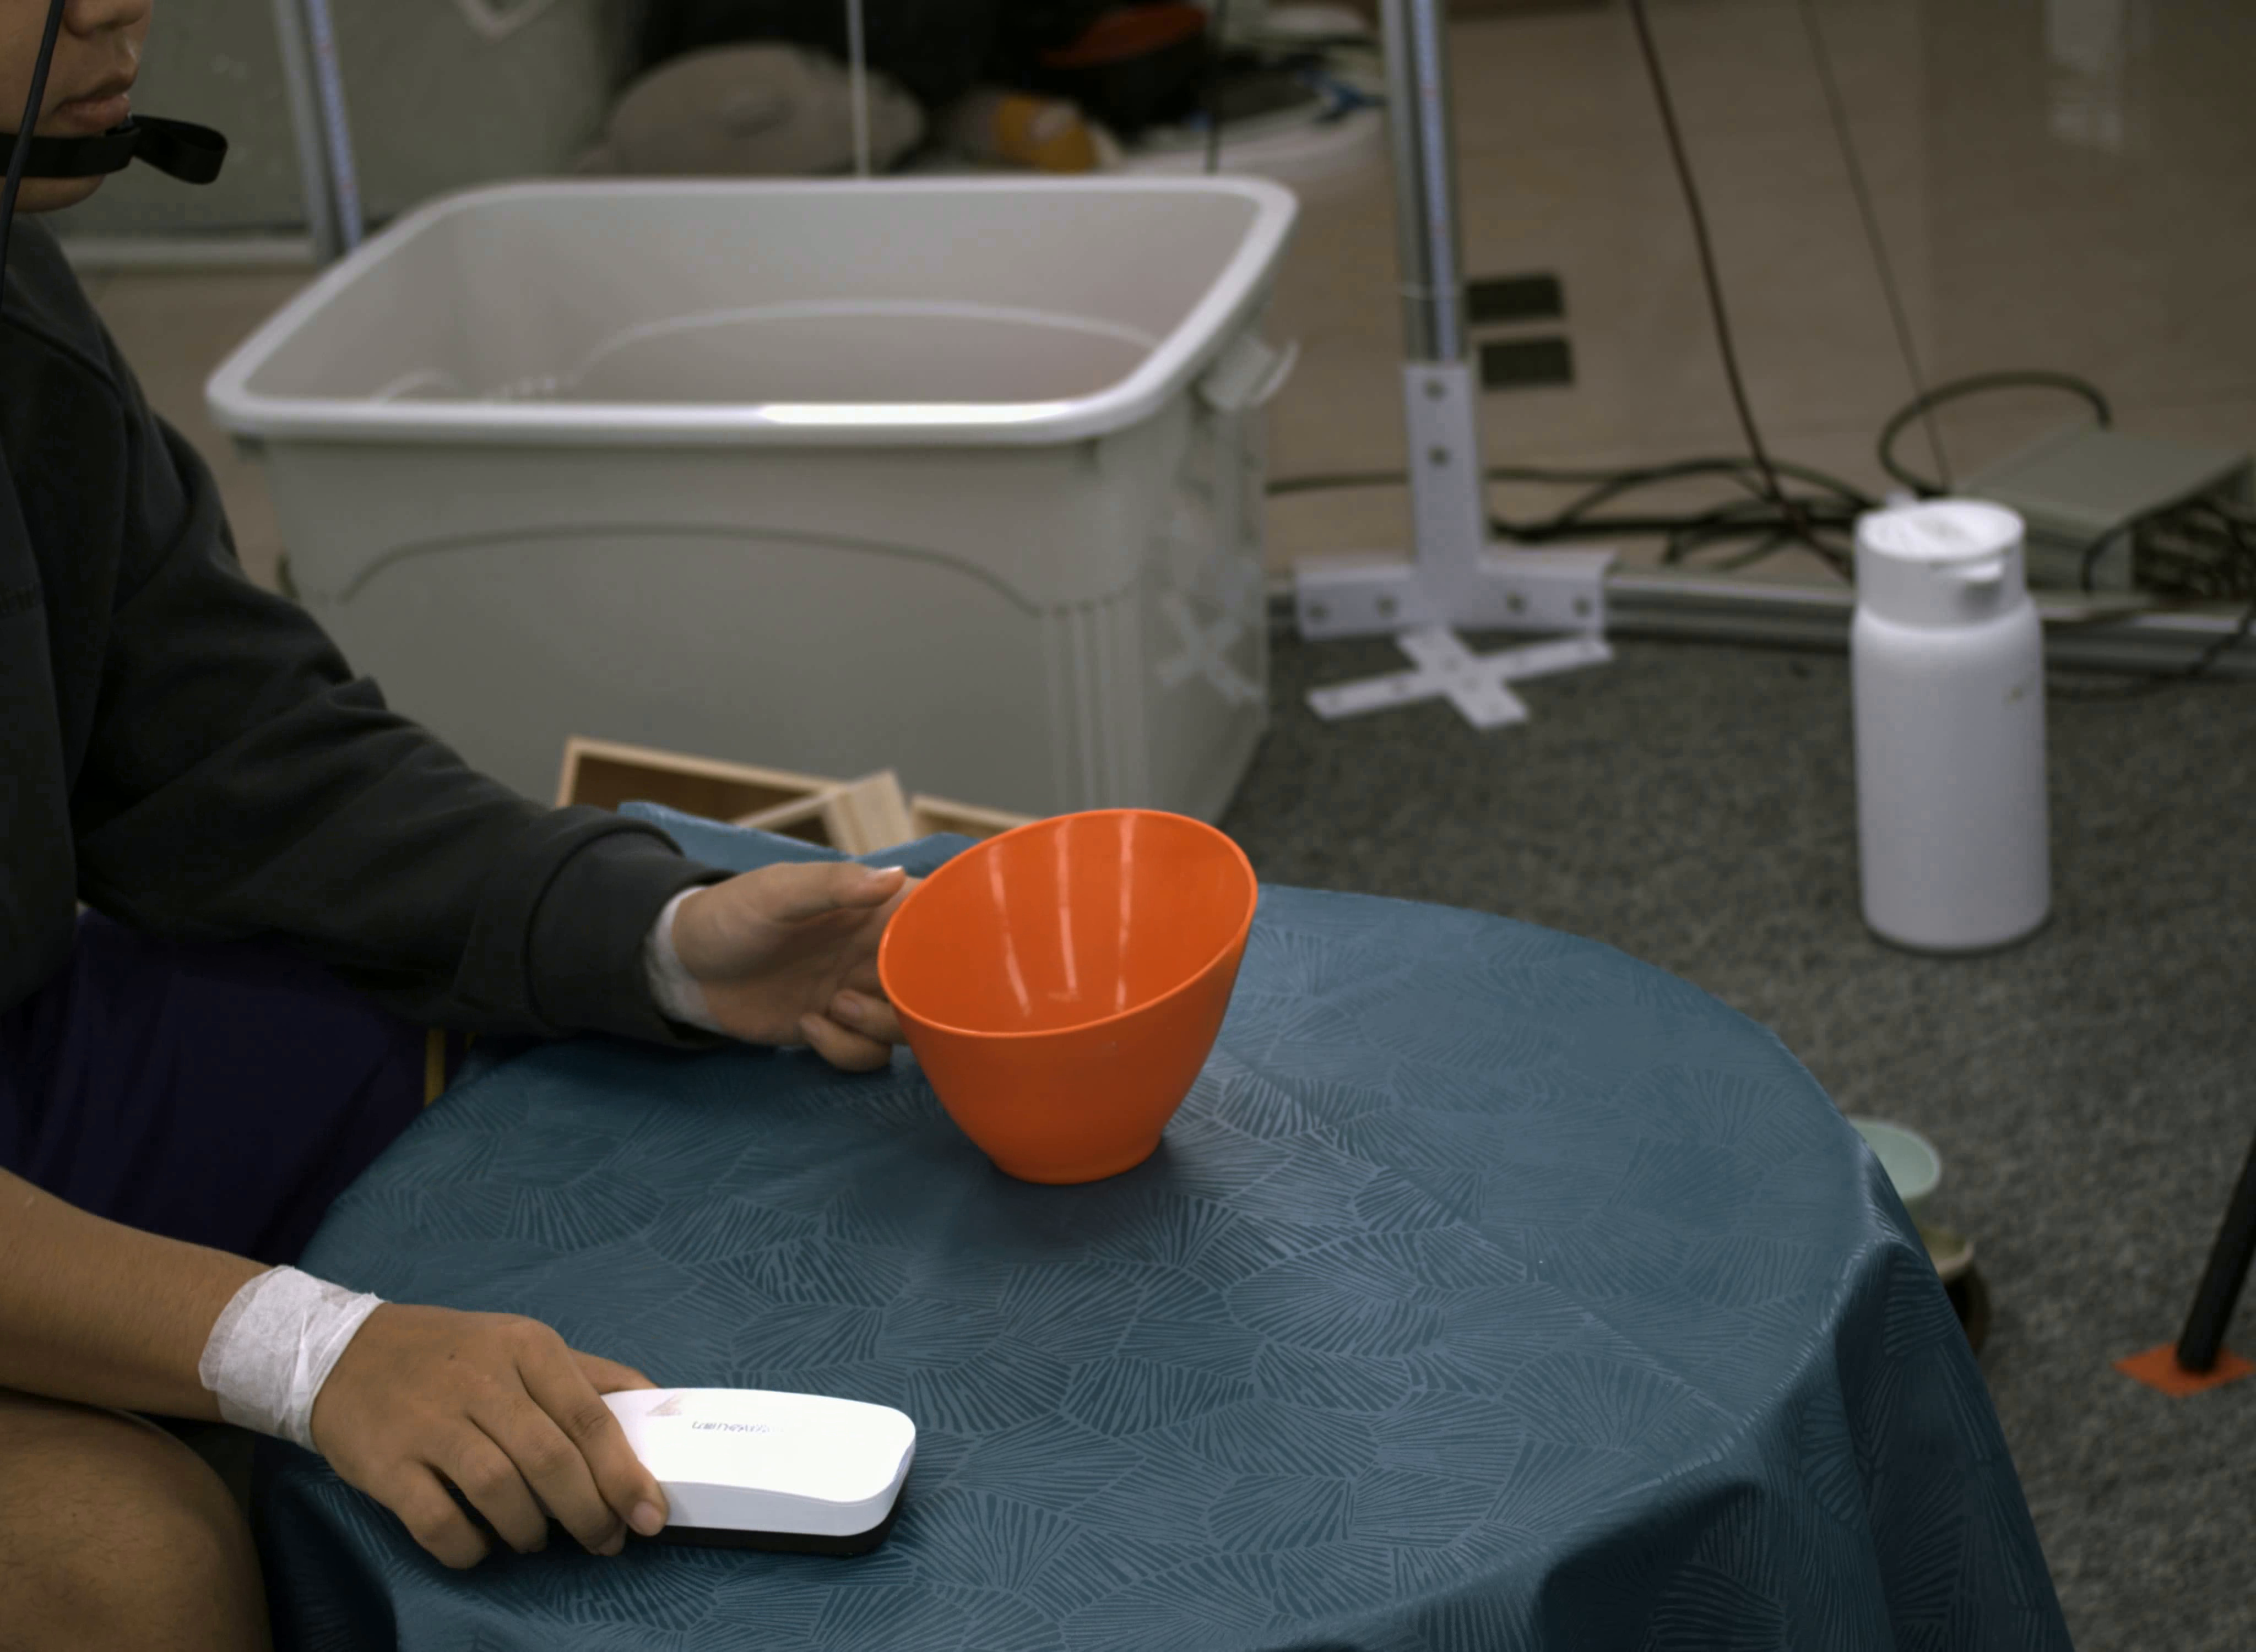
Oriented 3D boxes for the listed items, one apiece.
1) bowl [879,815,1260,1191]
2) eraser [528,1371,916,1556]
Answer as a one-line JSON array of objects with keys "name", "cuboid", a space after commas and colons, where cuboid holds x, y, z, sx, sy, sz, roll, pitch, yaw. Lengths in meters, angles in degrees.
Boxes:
[{"name": "bowl", "cuboid": [-0.018, 0.074, 2.171, 0.148, 0.106, 0.146, -6, 26, 3]}, {"name": "eraser", "cuboid": [-0.140, 0.221, 1.967, 0.131, 0.035, 0.062, 4, 26, 18]}]
